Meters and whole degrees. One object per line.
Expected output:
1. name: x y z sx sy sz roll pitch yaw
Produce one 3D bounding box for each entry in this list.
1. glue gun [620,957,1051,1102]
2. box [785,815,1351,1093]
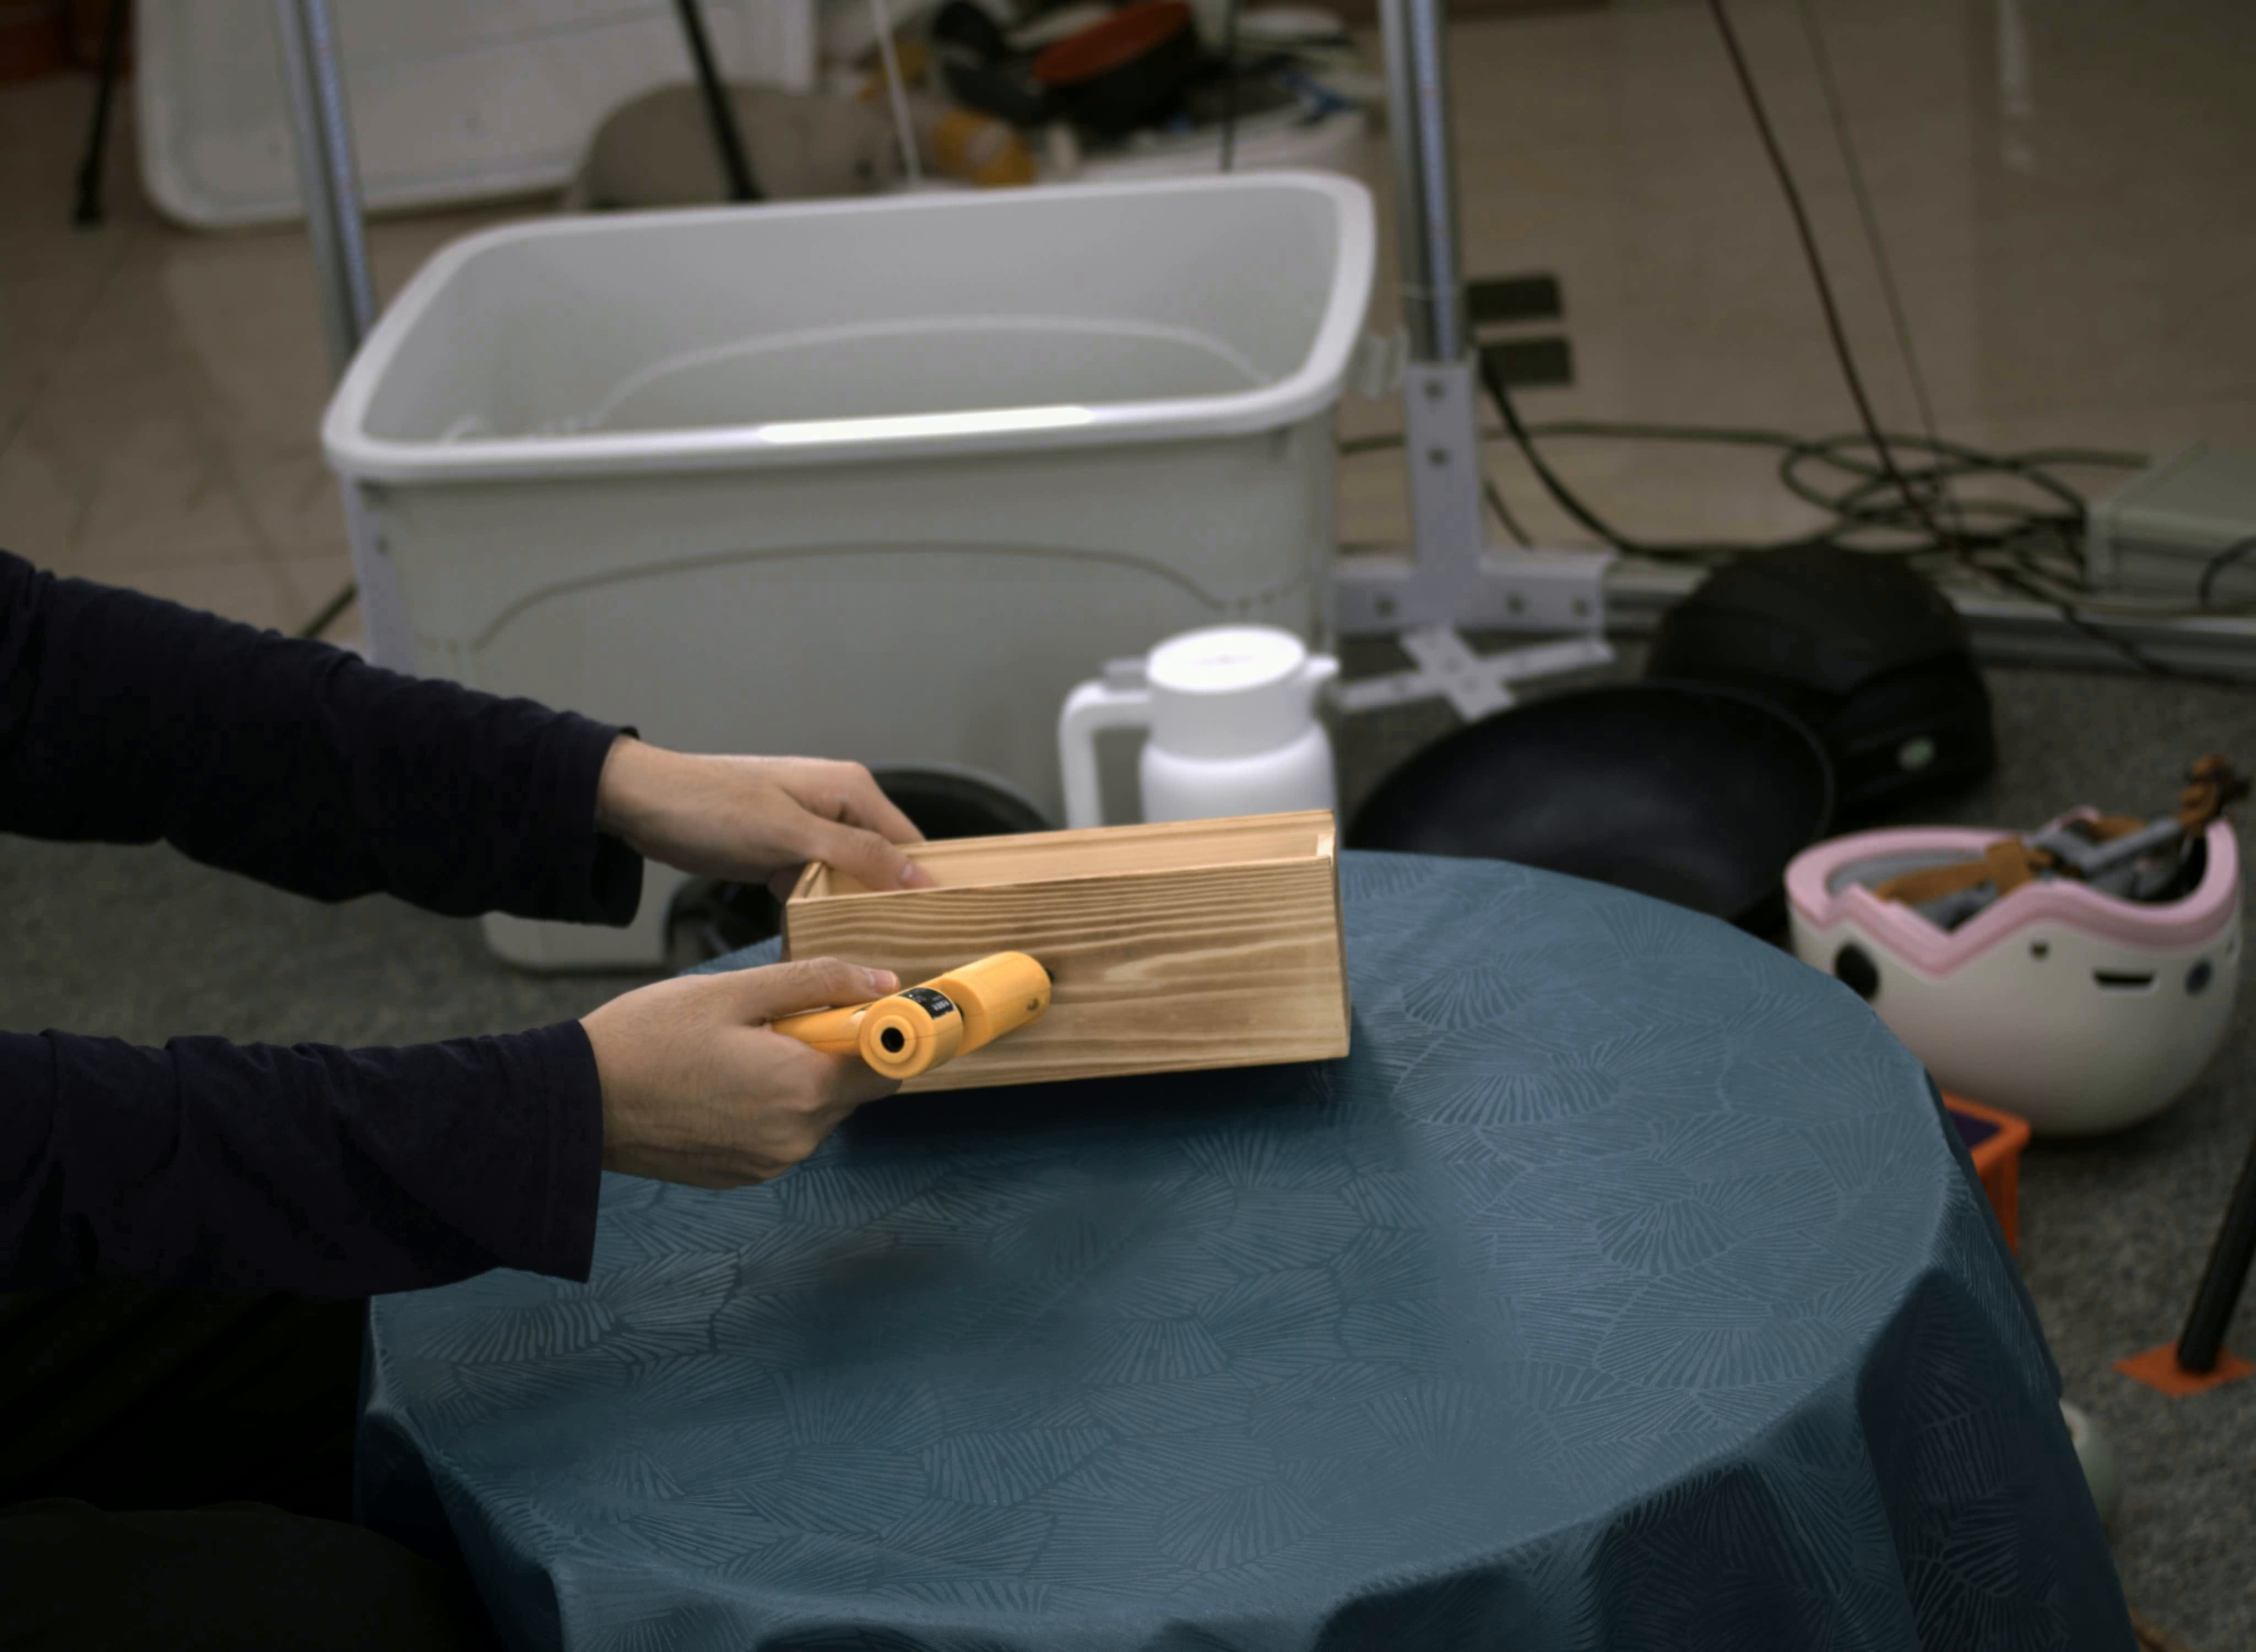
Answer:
1. glue gun: -0.098 0.075 2.120 0.133 0.031 0.150 -10 2 28
2. box: -0.021 0.049 2.222 0.211 0.081 0.107 -4 11 4
